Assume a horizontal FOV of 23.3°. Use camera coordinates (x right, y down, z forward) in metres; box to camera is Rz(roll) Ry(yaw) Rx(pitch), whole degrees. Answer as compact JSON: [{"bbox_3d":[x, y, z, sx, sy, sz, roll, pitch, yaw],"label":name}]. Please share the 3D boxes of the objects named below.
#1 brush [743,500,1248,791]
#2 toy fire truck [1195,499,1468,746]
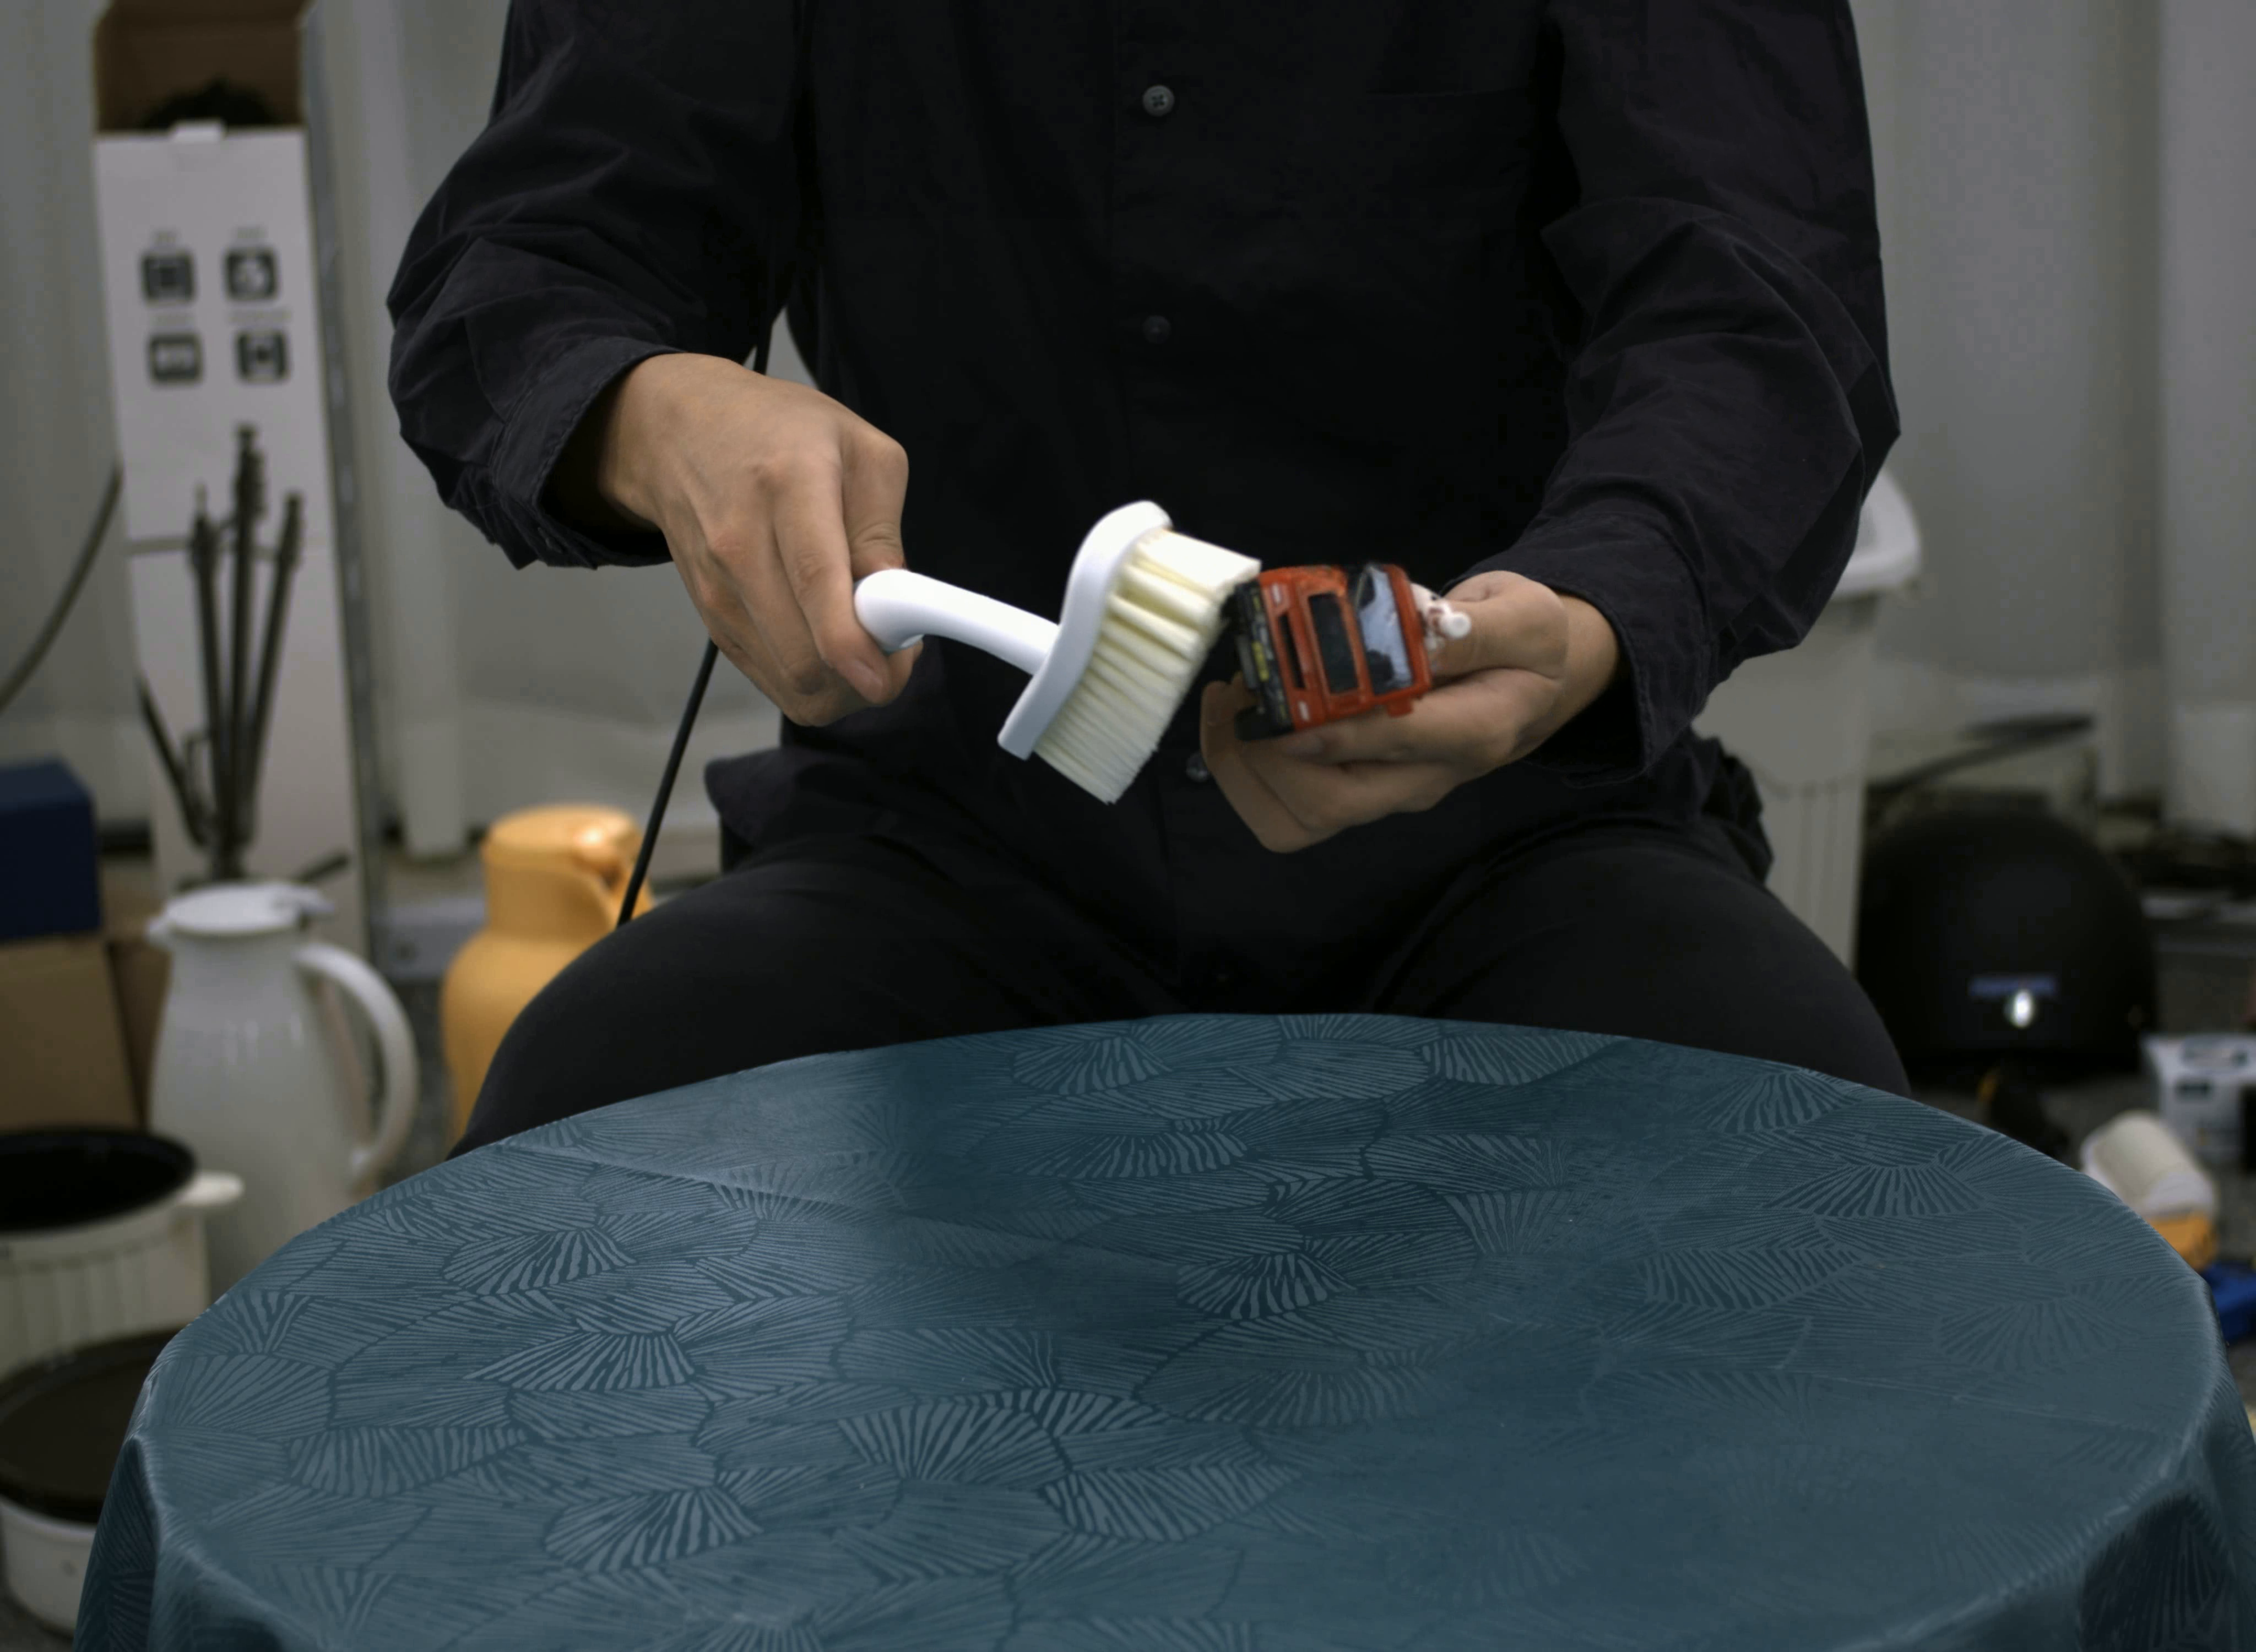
[{"bbox_3d":[-0.029,-0.050,1.627,0.083,0.084,0.325,-24,4,-19],"label":"brush"},{"bbox_3d":[0.057,-0.059,1.539,0.070,0.054,0.168,-14,3,1],"label":"toy fire truck"}]
